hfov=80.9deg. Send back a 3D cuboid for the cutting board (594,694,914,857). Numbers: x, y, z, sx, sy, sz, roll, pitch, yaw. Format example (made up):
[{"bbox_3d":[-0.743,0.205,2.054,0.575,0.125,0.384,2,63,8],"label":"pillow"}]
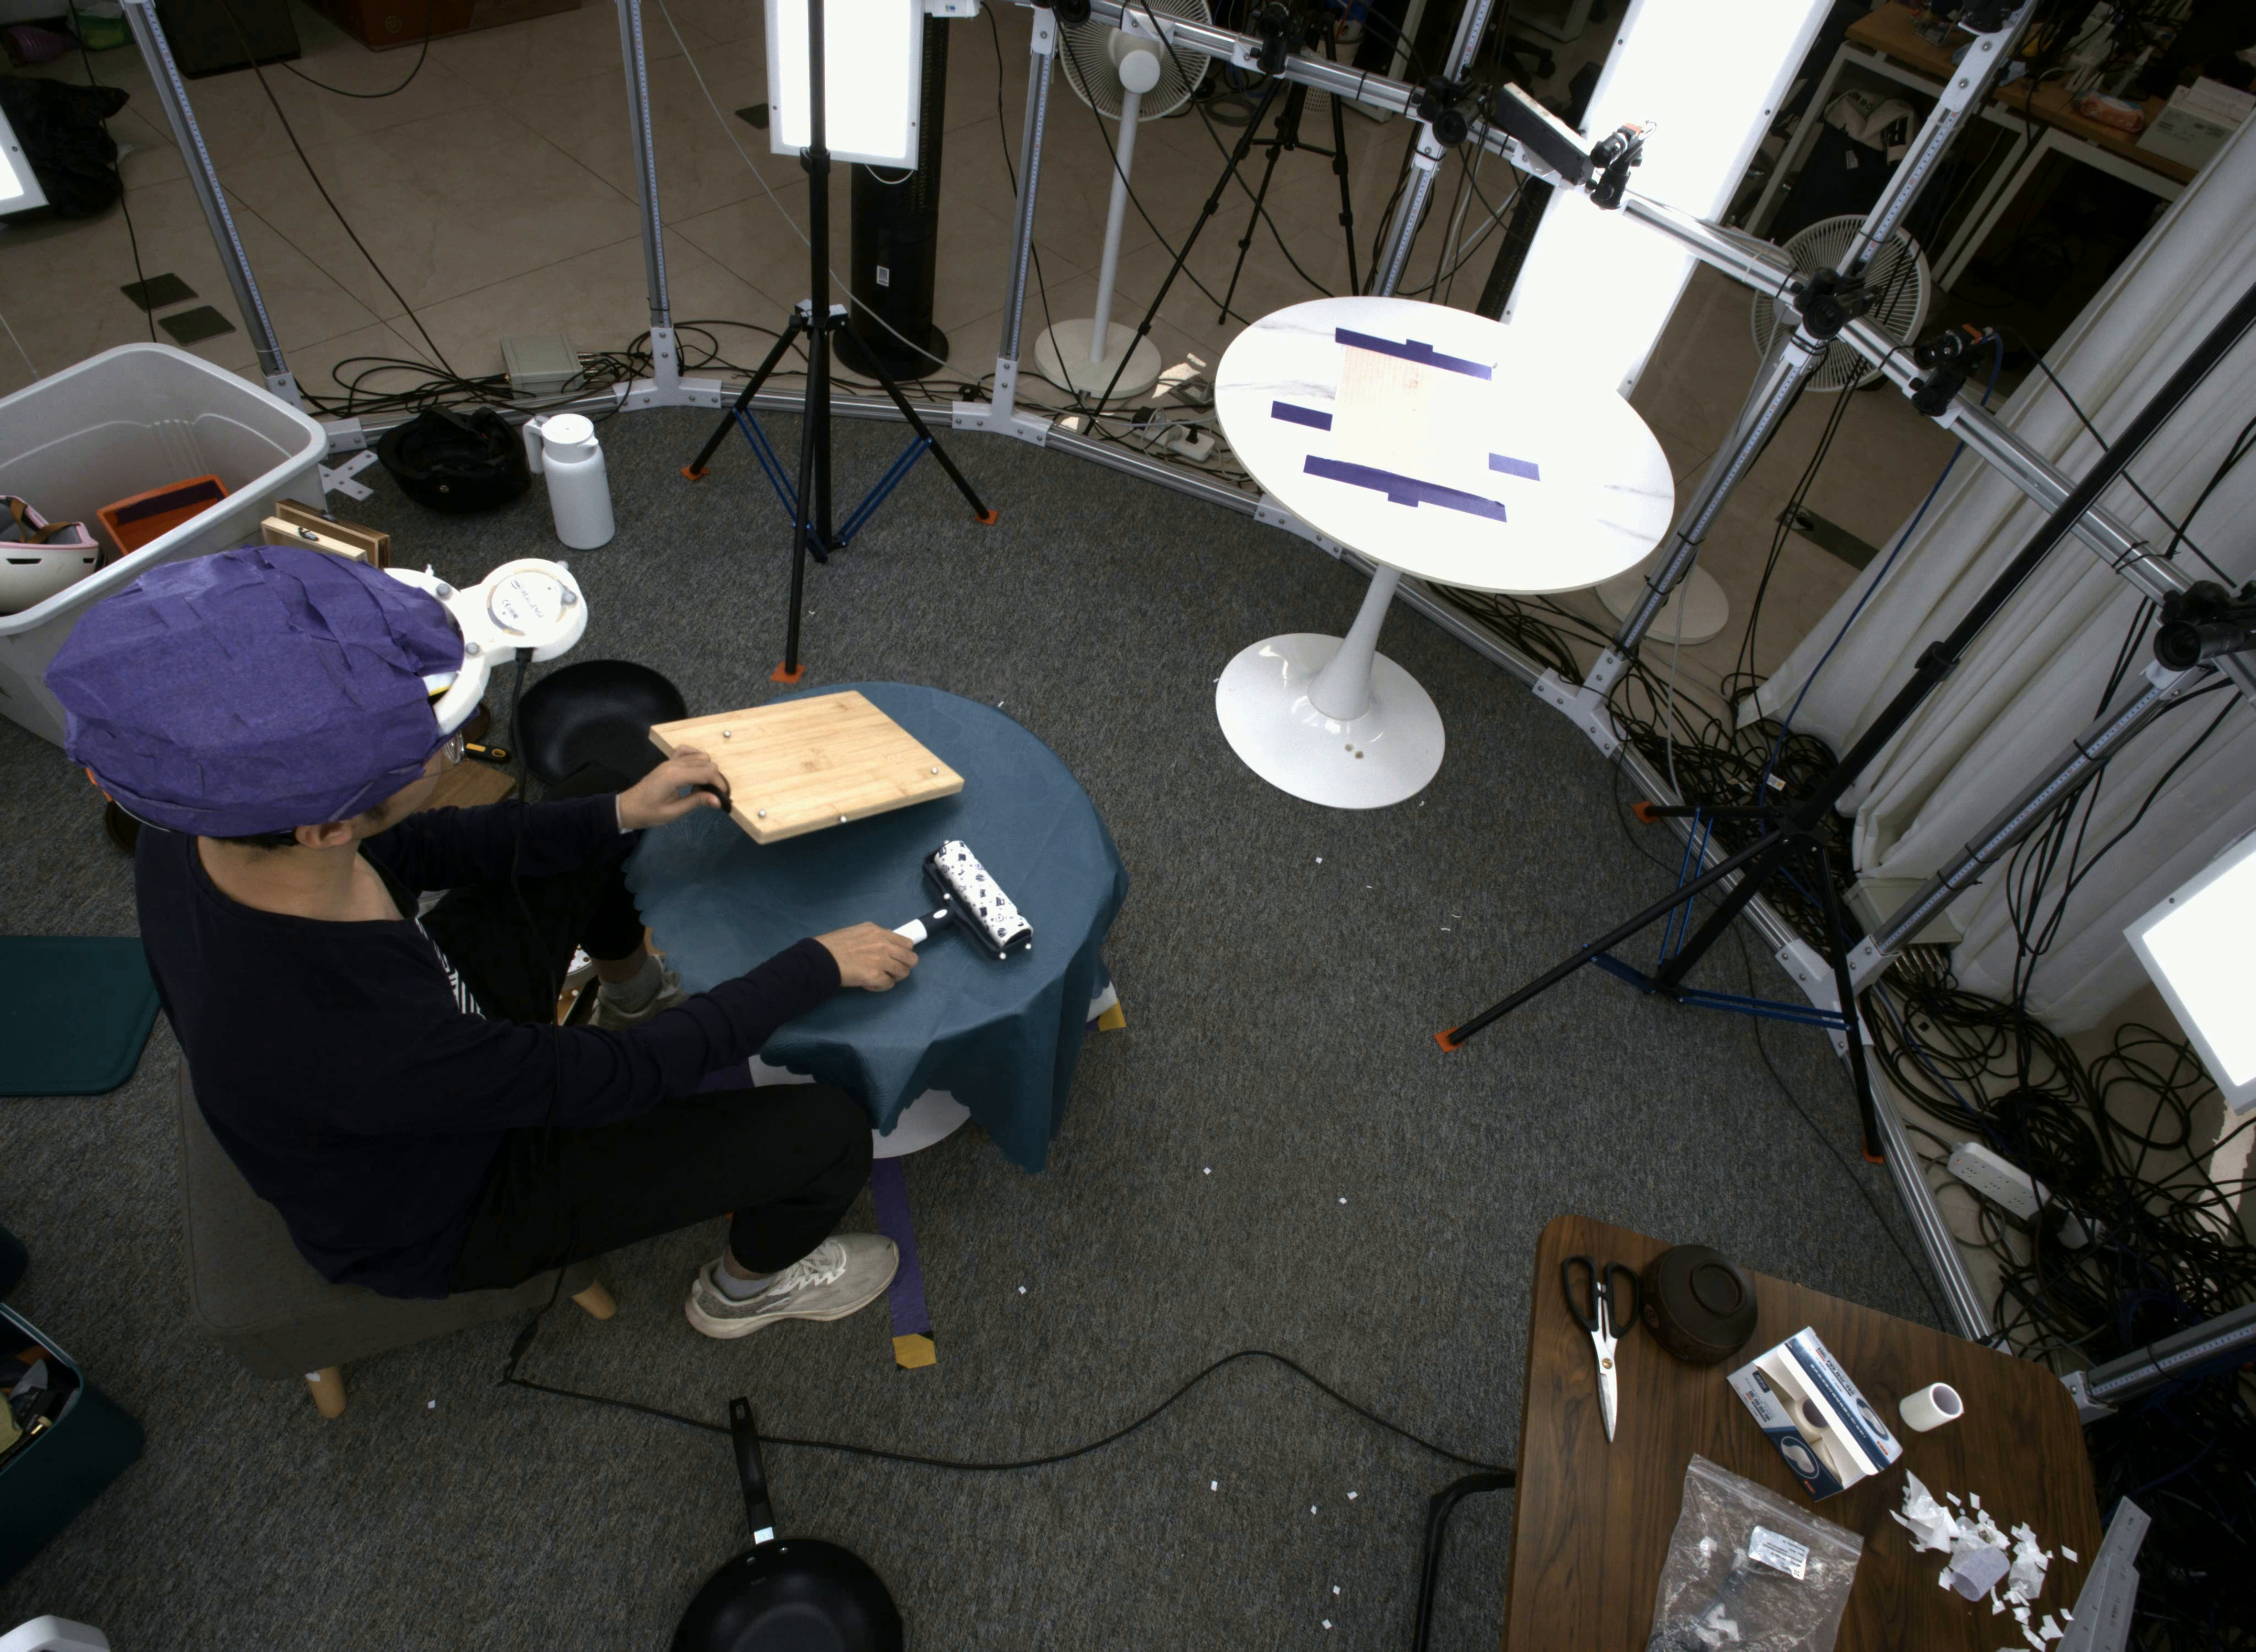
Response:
[{"bbox_3d":[-0.478,-0.076,1.672,0.244,0.024,0.352,36,31,21],"label":"cutting board"}]

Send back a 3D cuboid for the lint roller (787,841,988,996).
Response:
[{"bbox_3d":[-0.319,0.135,1.634,0.248,0.051,0.172,-33,68,-29],"label":"lint roller"}]
